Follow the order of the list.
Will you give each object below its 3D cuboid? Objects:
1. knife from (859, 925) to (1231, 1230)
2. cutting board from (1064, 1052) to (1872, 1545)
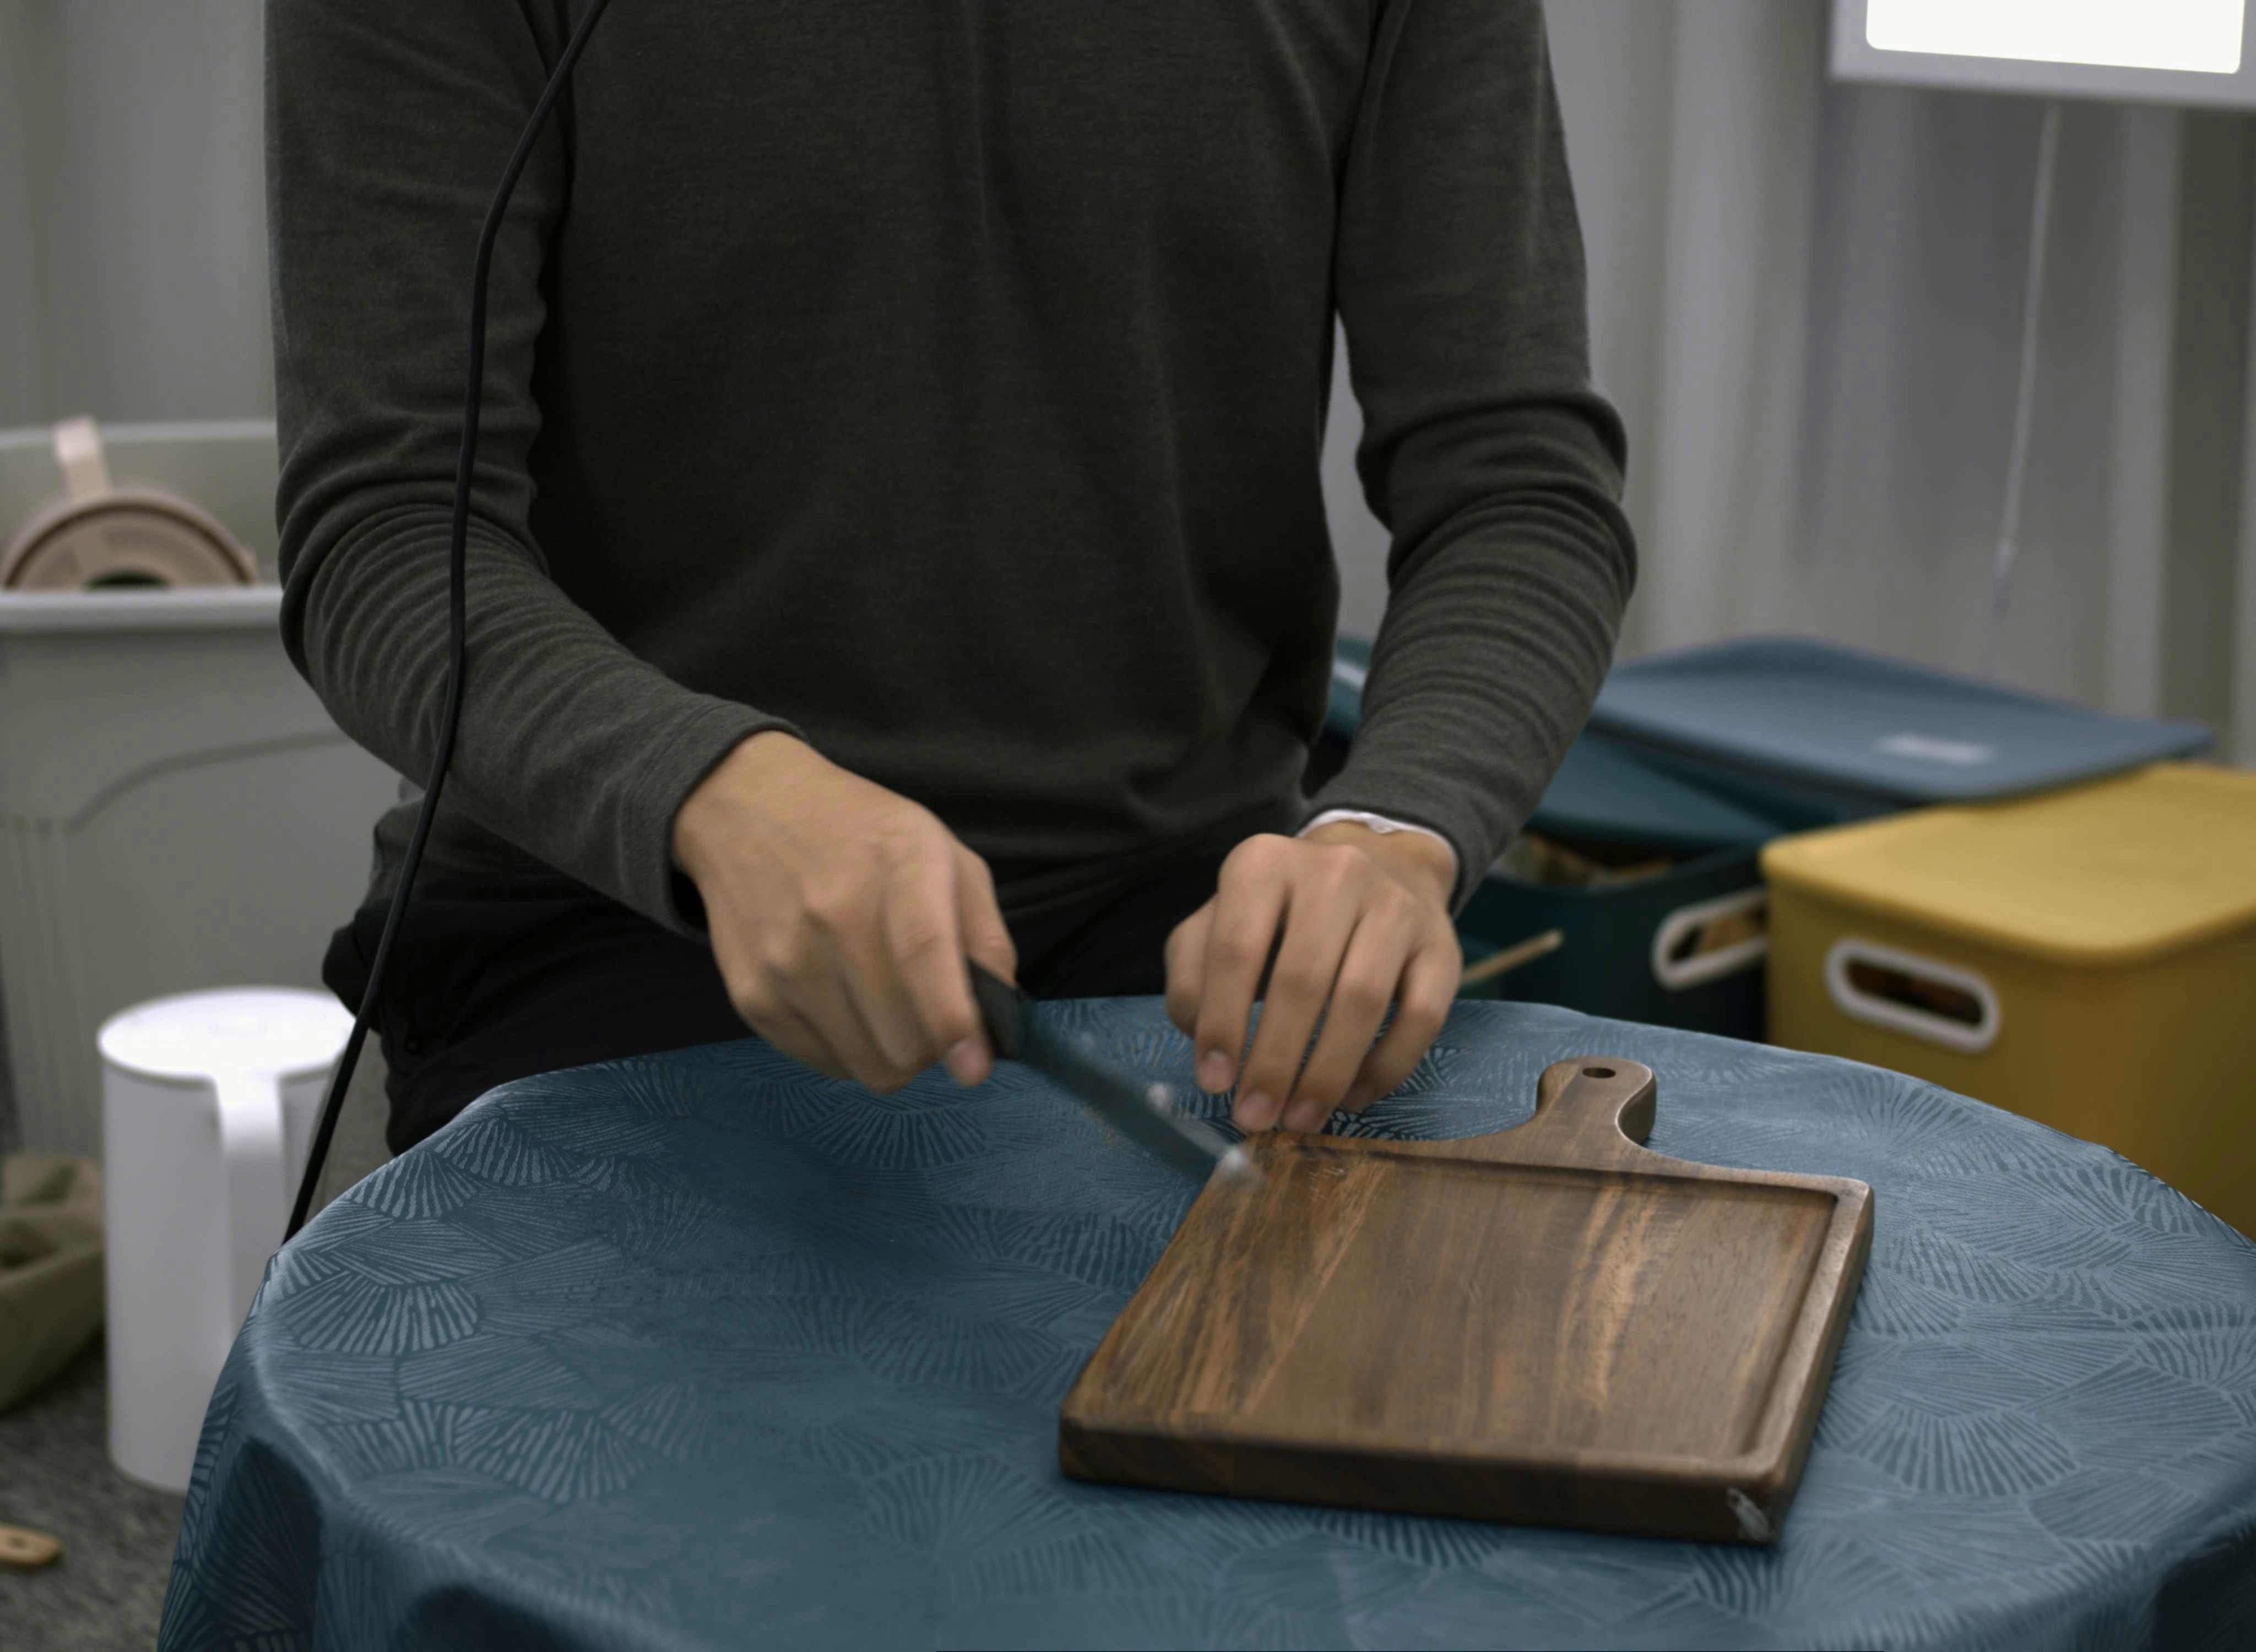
[{"bbox_3d":[-0.026,0.070,1.500,0.016,0.025,0.235,-31,28,-15],"label":"knife"},{"bbox_3d":[0.114,0.127,1.538,0.199,0.023,0.352,4,16,12],"label":"cutting board"}]
